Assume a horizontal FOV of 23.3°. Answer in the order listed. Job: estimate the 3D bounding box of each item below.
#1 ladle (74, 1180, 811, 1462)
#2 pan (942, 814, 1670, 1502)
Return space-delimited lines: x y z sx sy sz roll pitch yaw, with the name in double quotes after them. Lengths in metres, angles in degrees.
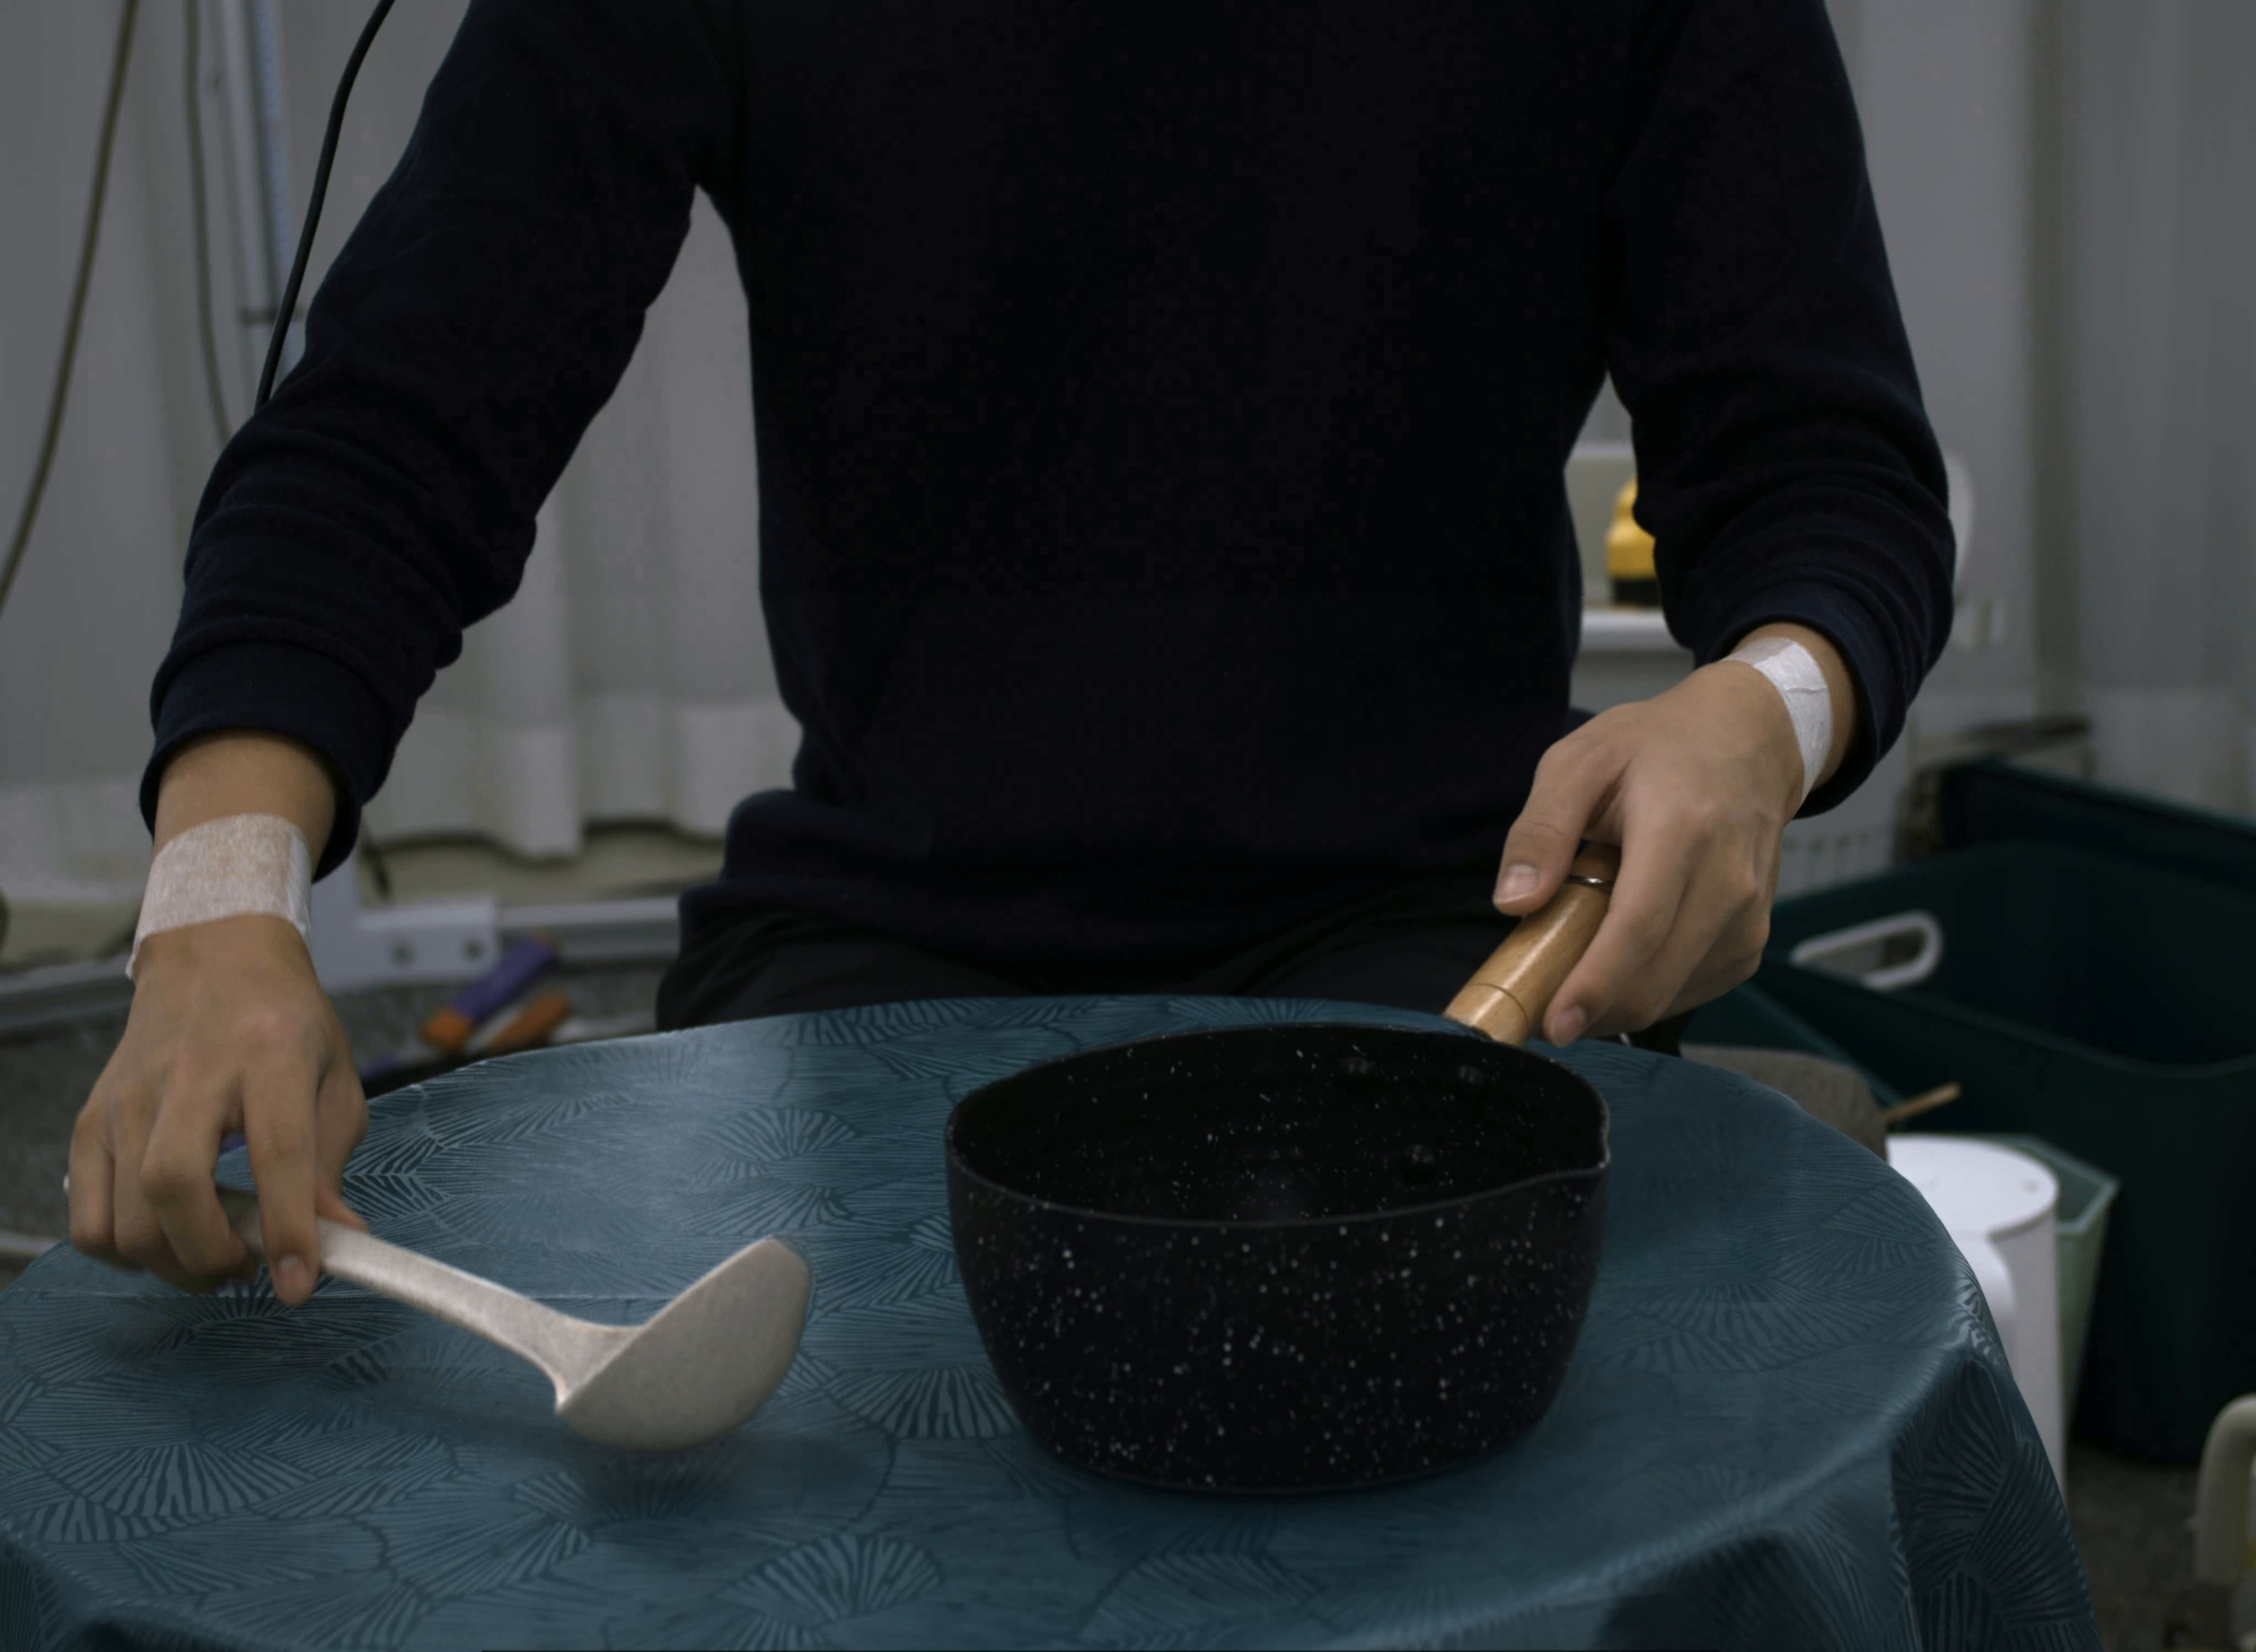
-0.207 0.115 1.563 0.276 0.069 0.089 16 33 34 "ladle"
0.079 0.091 1.584 0.208 0.108 0.343 4 17 28 "pan"
